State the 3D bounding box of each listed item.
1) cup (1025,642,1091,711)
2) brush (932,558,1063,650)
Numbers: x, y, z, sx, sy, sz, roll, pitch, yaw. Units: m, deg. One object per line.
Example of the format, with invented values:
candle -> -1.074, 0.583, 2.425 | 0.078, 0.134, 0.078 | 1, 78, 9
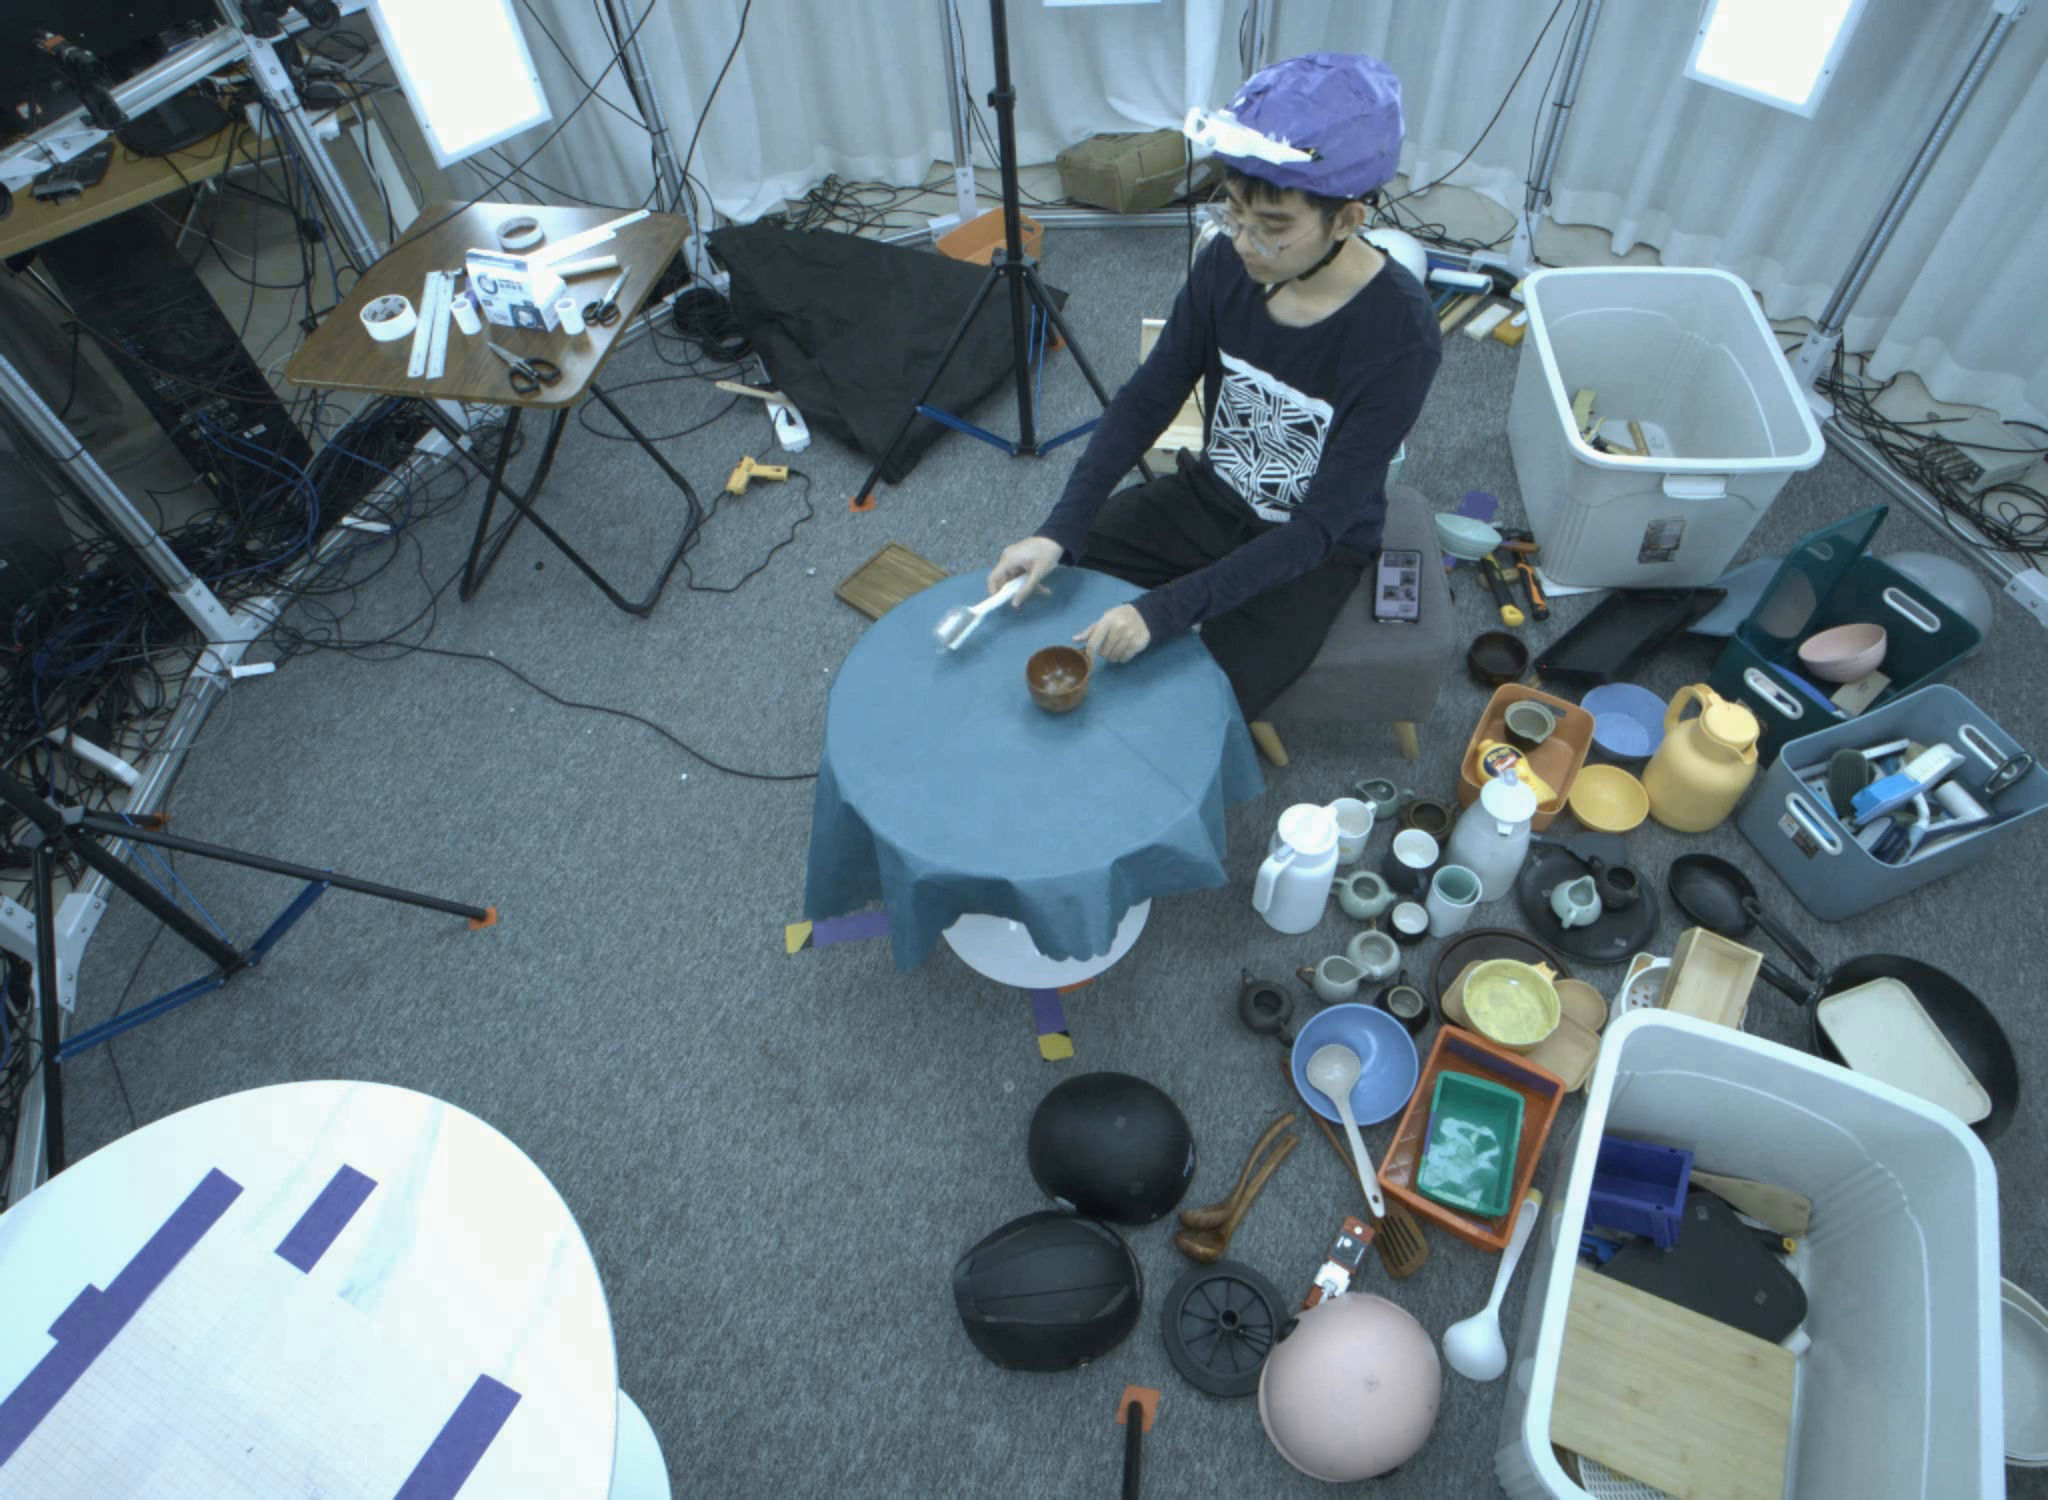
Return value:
cup -> 0.060, -0.109, 1.811 | 0.094, 0.068, 0.120 | 34, 65, 26
brush -> -0.039, -0.237, 1.883 | 0.245, 0.051, 0.034 | -38, 59, -15
